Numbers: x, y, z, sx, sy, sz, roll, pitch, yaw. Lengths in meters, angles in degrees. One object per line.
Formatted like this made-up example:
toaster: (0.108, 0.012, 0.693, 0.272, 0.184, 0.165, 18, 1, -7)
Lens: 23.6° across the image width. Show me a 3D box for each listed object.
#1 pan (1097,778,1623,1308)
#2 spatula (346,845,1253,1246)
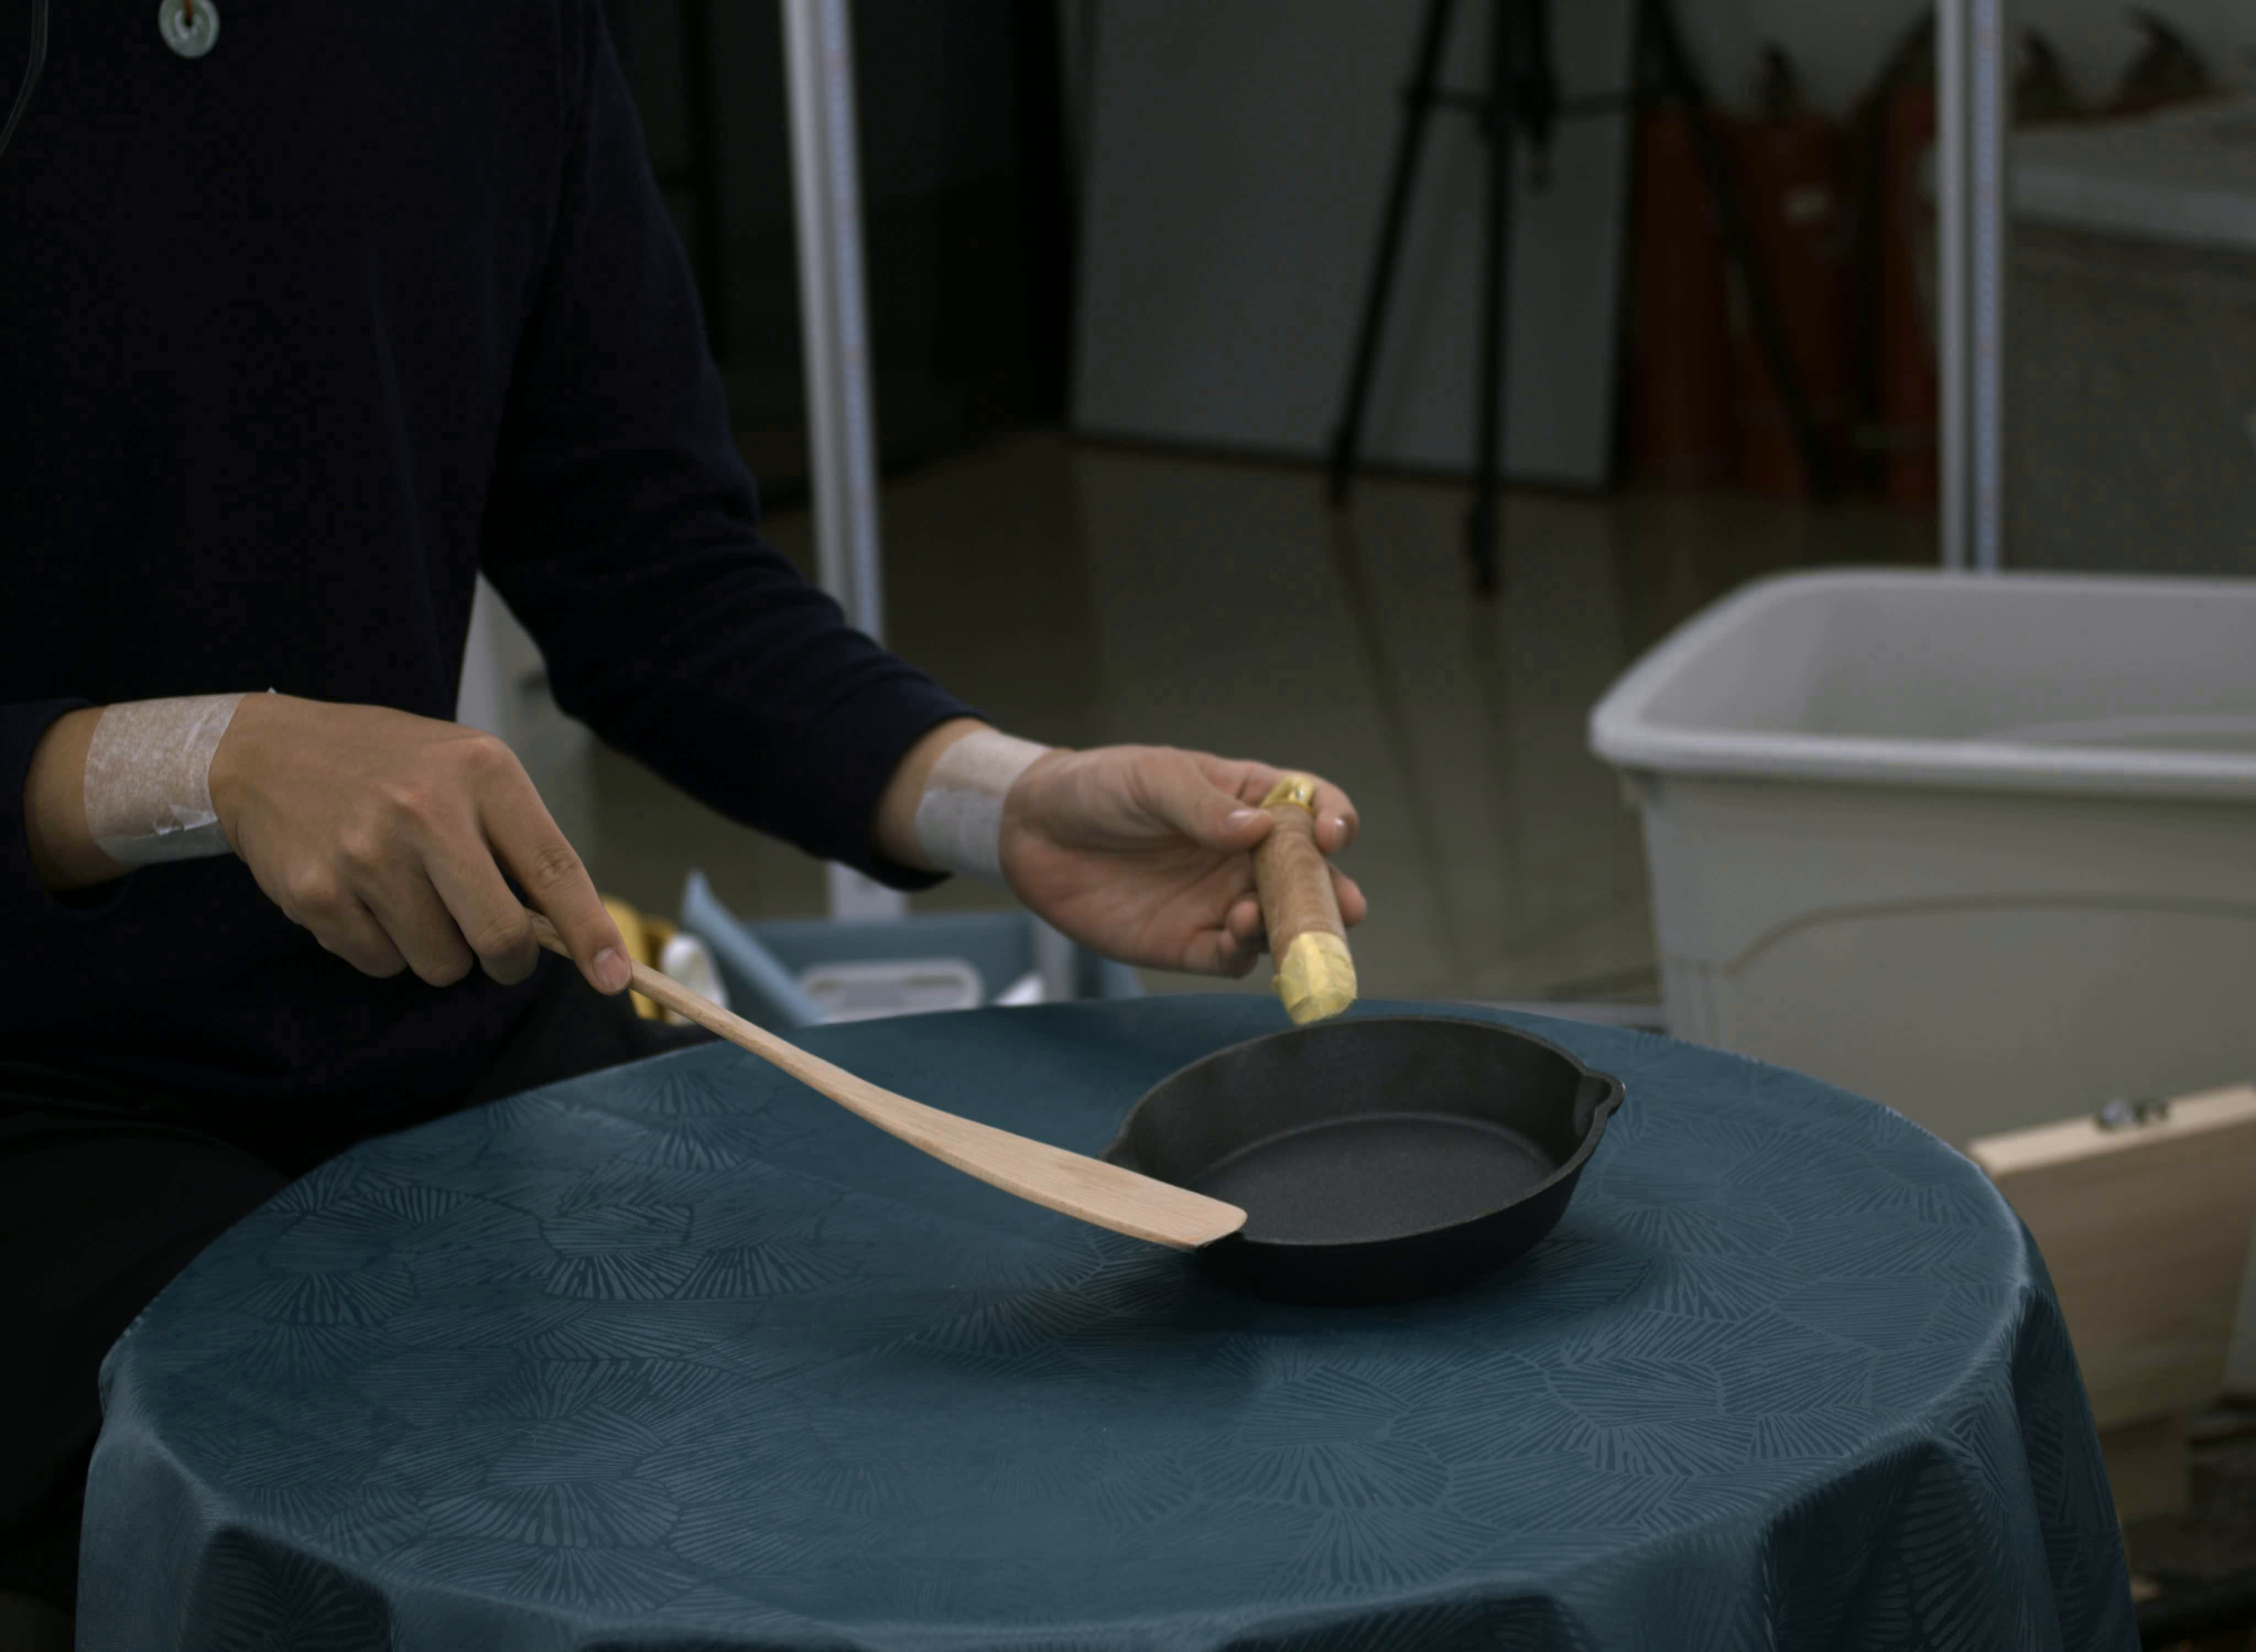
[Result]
pan: (0.069, 0.067, 1.770, 0.167, 0.050, 0.325, -8, 24, 1)
spatula: (-0.104, 0.067, 1.675, 0.328, 0.017, 0.079, 24, 8, 20)
